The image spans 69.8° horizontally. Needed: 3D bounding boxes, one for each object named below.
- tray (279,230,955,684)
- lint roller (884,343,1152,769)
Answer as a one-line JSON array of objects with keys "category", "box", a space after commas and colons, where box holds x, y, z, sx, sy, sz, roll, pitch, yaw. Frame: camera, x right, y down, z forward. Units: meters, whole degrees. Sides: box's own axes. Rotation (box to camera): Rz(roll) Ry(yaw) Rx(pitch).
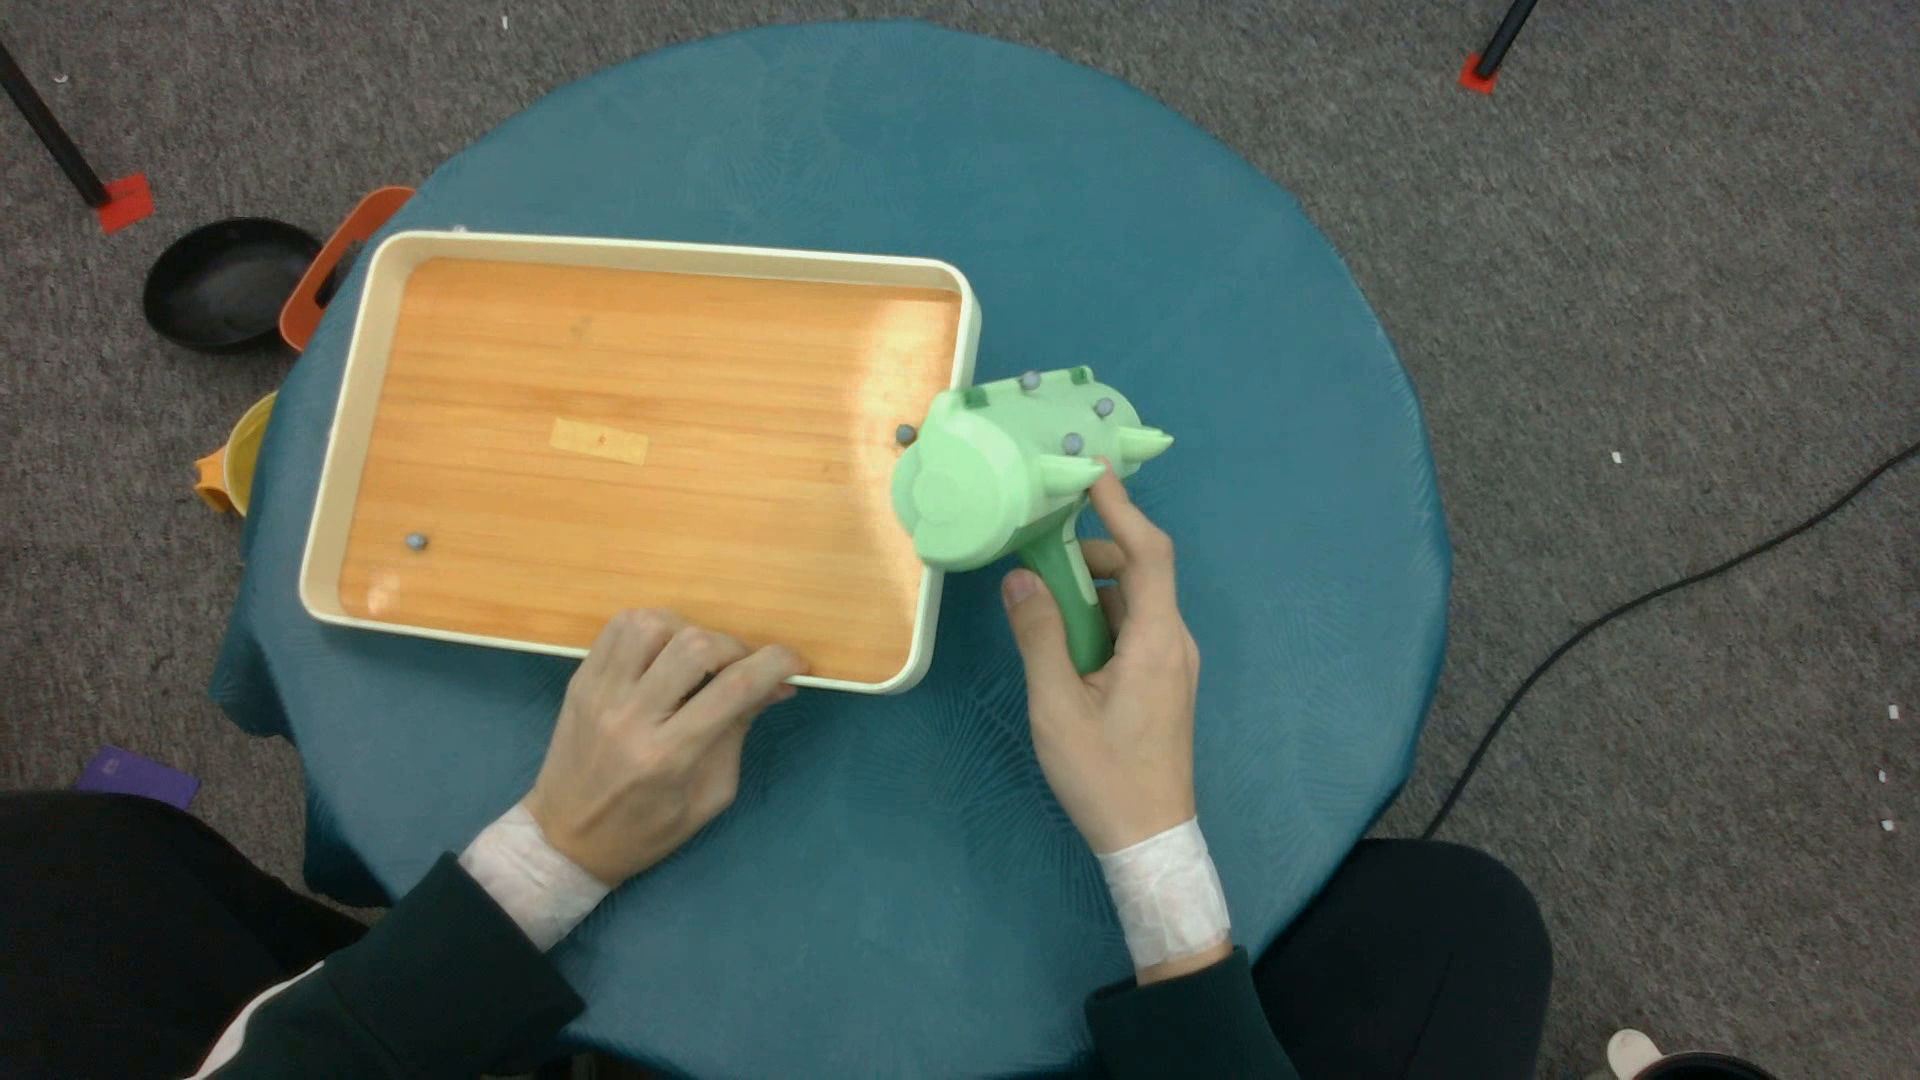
[{"category": "tray", "box": [-0.157, -0.043, 0.621, 0.300, 0.027, 0.192, 5, 81, 14]}, {"category": "lint roller", "box": [0.050, 0.004, 0.589, 0.082, 0.199, 0.183, -21, 92, 20]}]
